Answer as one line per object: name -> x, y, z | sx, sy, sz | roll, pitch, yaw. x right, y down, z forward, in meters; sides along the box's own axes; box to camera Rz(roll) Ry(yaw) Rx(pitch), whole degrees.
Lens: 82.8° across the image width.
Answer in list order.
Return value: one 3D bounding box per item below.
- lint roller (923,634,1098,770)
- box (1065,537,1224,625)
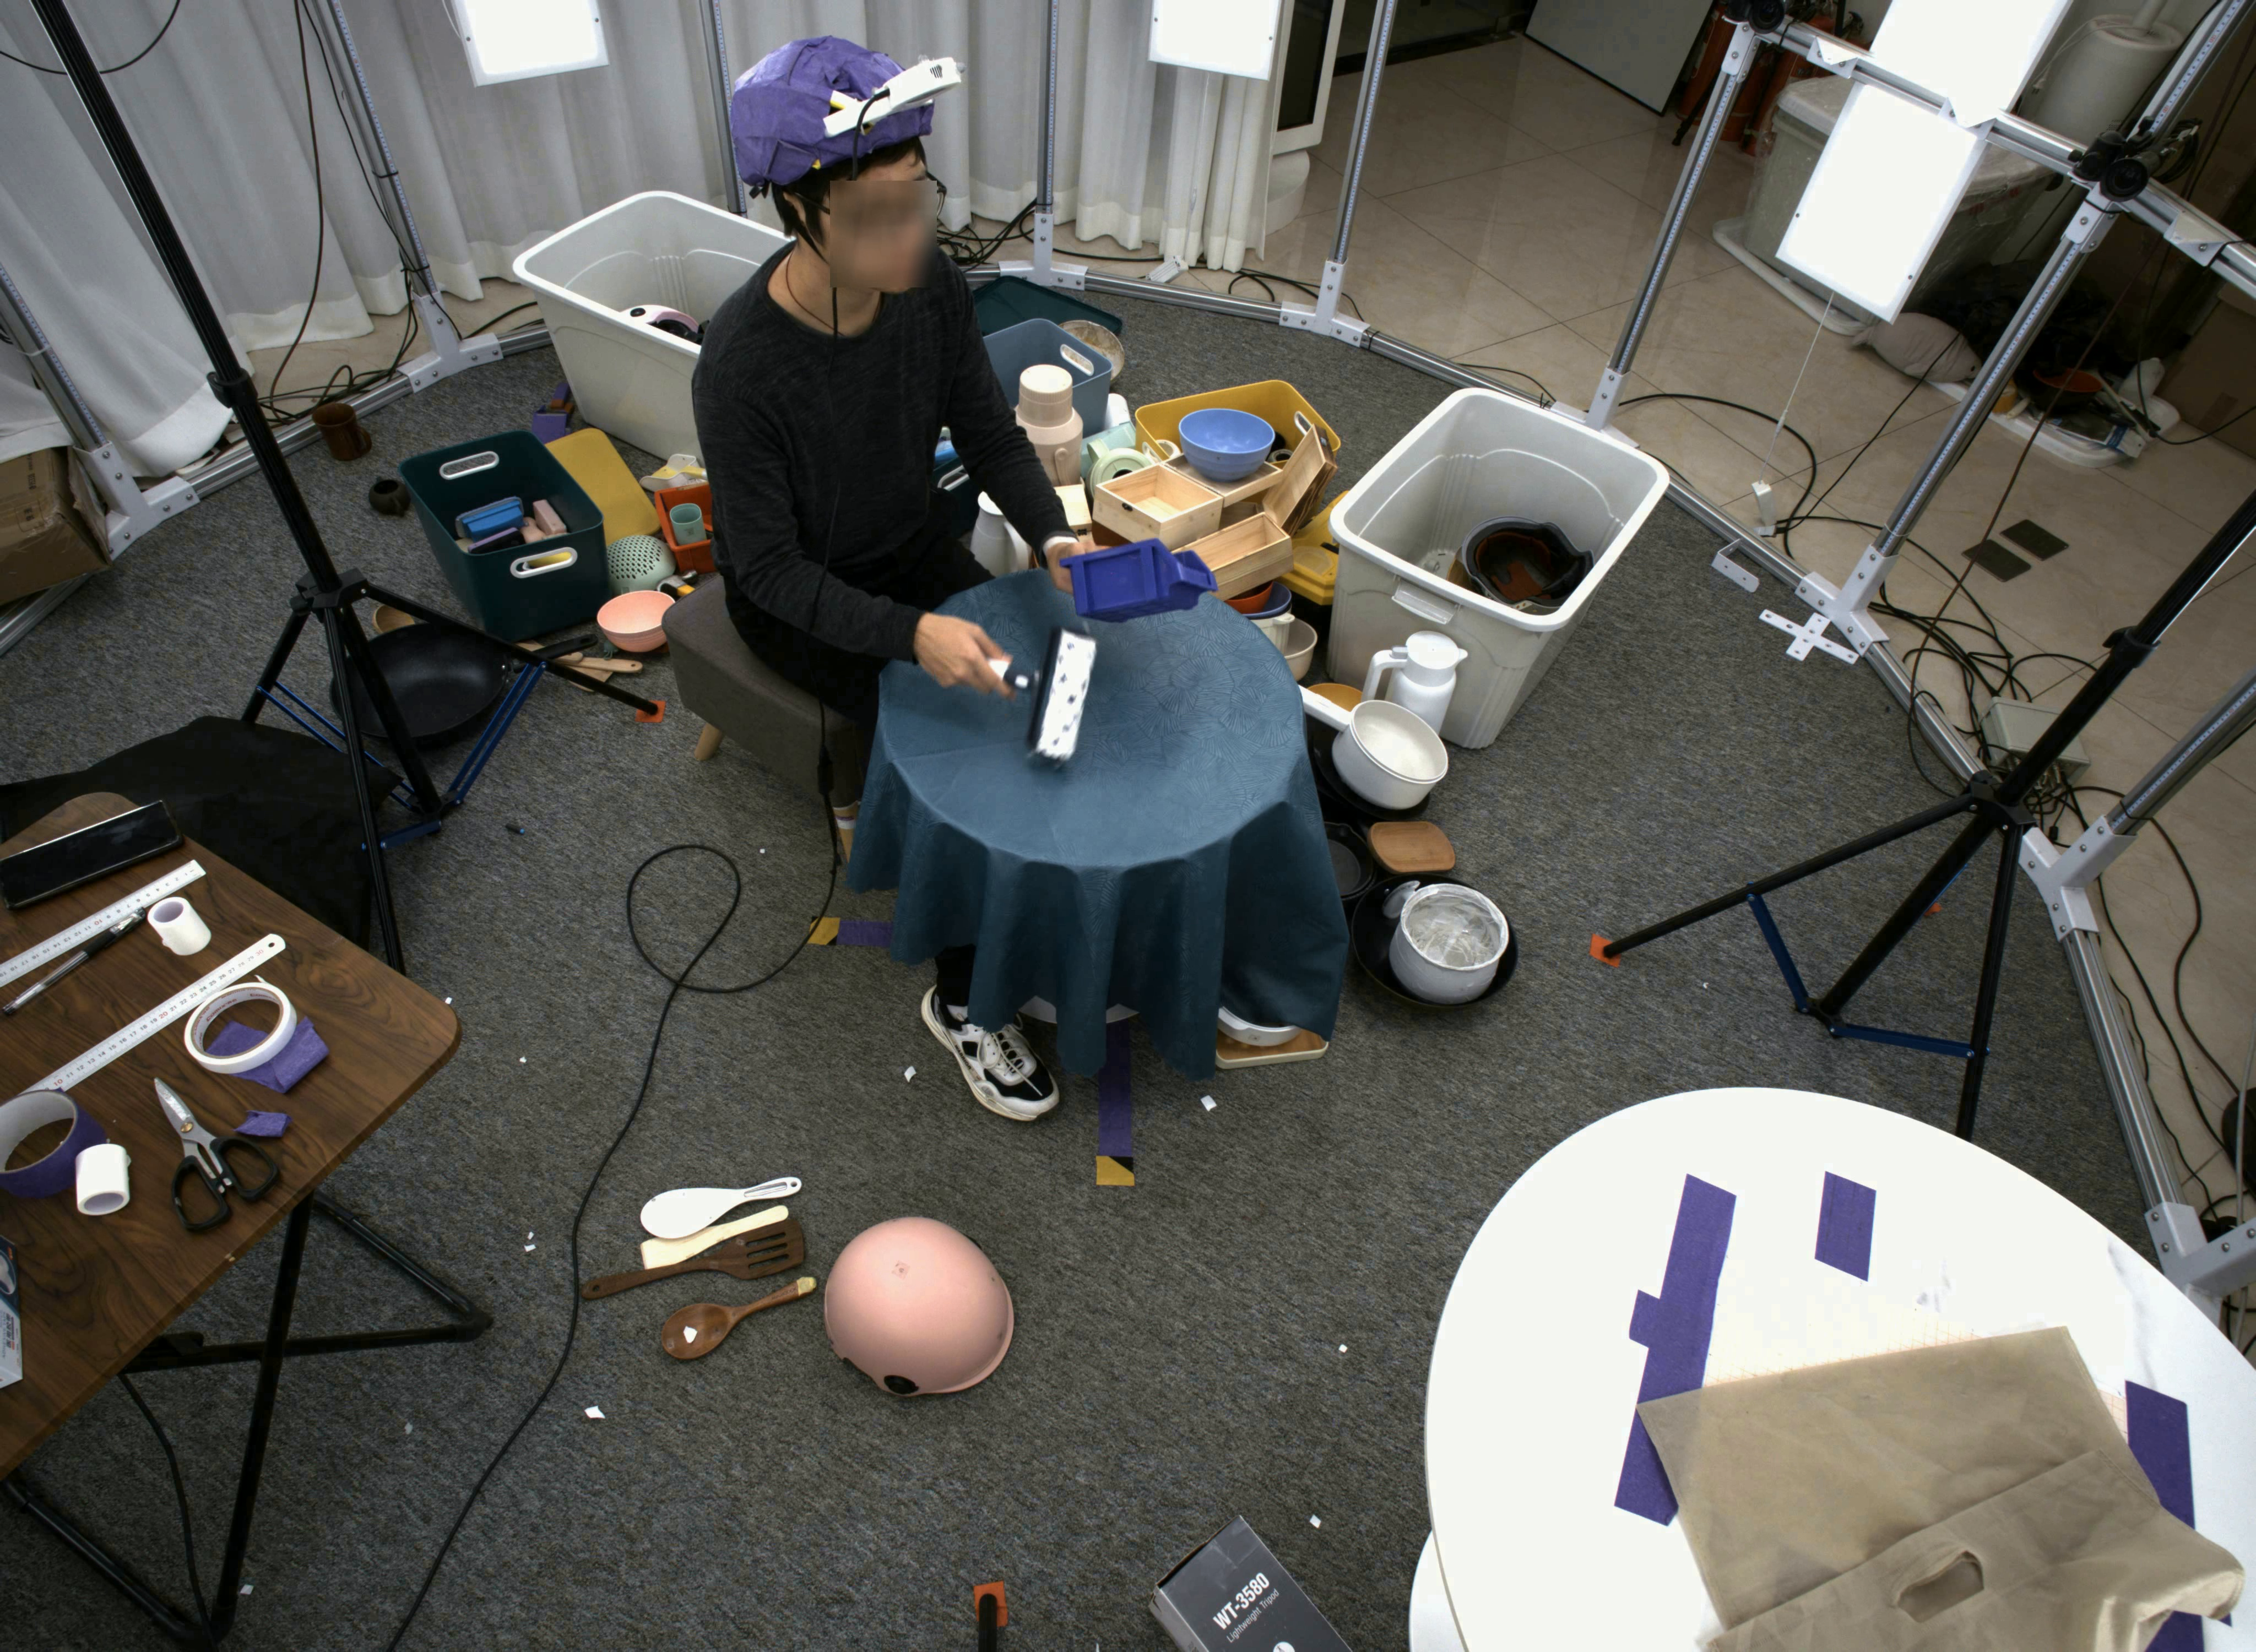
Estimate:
lint roller -> -0.174, -0.195, 1.734 | 0.249, 0.175, 0.050 | 20, 7, 18
box -> 0.025, -0.335, 1.765 | 0.179, 0.082, 0.124 | -9, -3, 30
